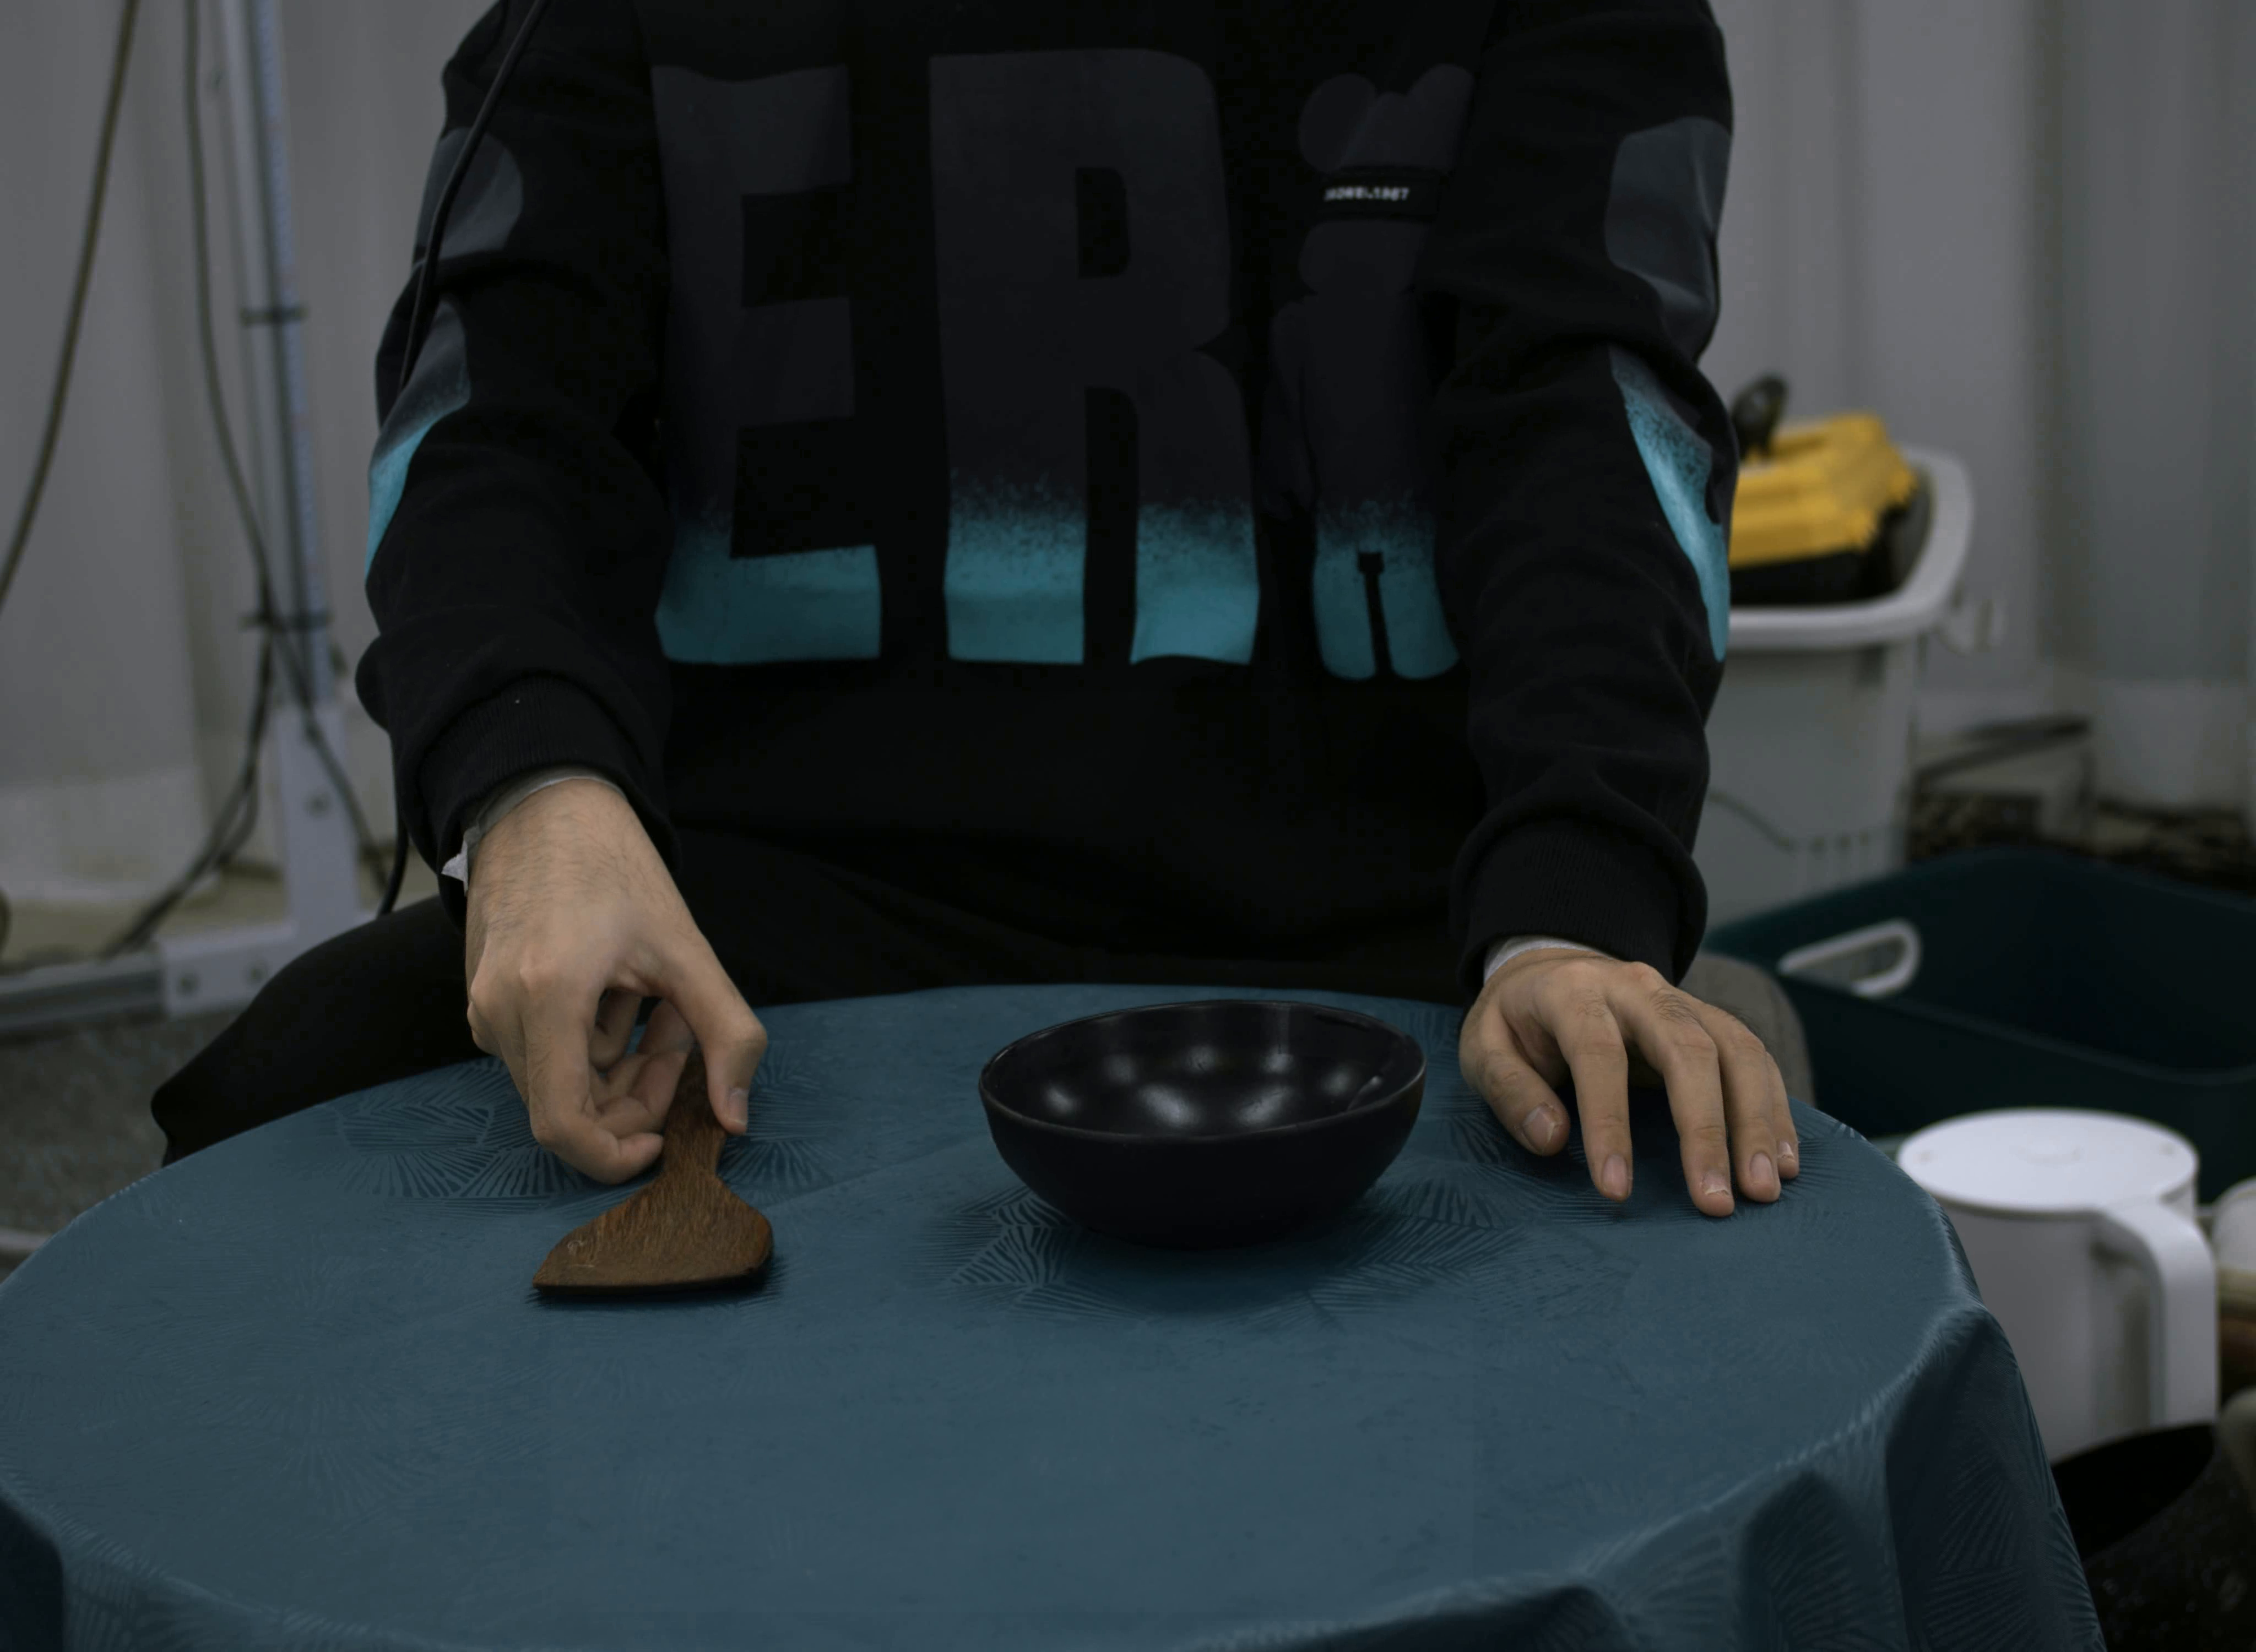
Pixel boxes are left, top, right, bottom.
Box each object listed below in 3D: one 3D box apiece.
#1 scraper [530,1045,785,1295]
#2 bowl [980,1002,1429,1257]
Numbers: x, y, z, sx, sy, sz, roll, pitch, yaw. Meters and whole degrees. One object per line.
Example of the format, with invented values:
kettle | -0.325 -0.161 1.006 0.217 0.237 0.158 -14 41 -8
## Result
scraper | -0.139 0.109 1.733 0.075 0.011 0.213 -2 18 3
bowl | 0.026 0.098 1.682 0.139 0.049 0.141 -5 14 1
